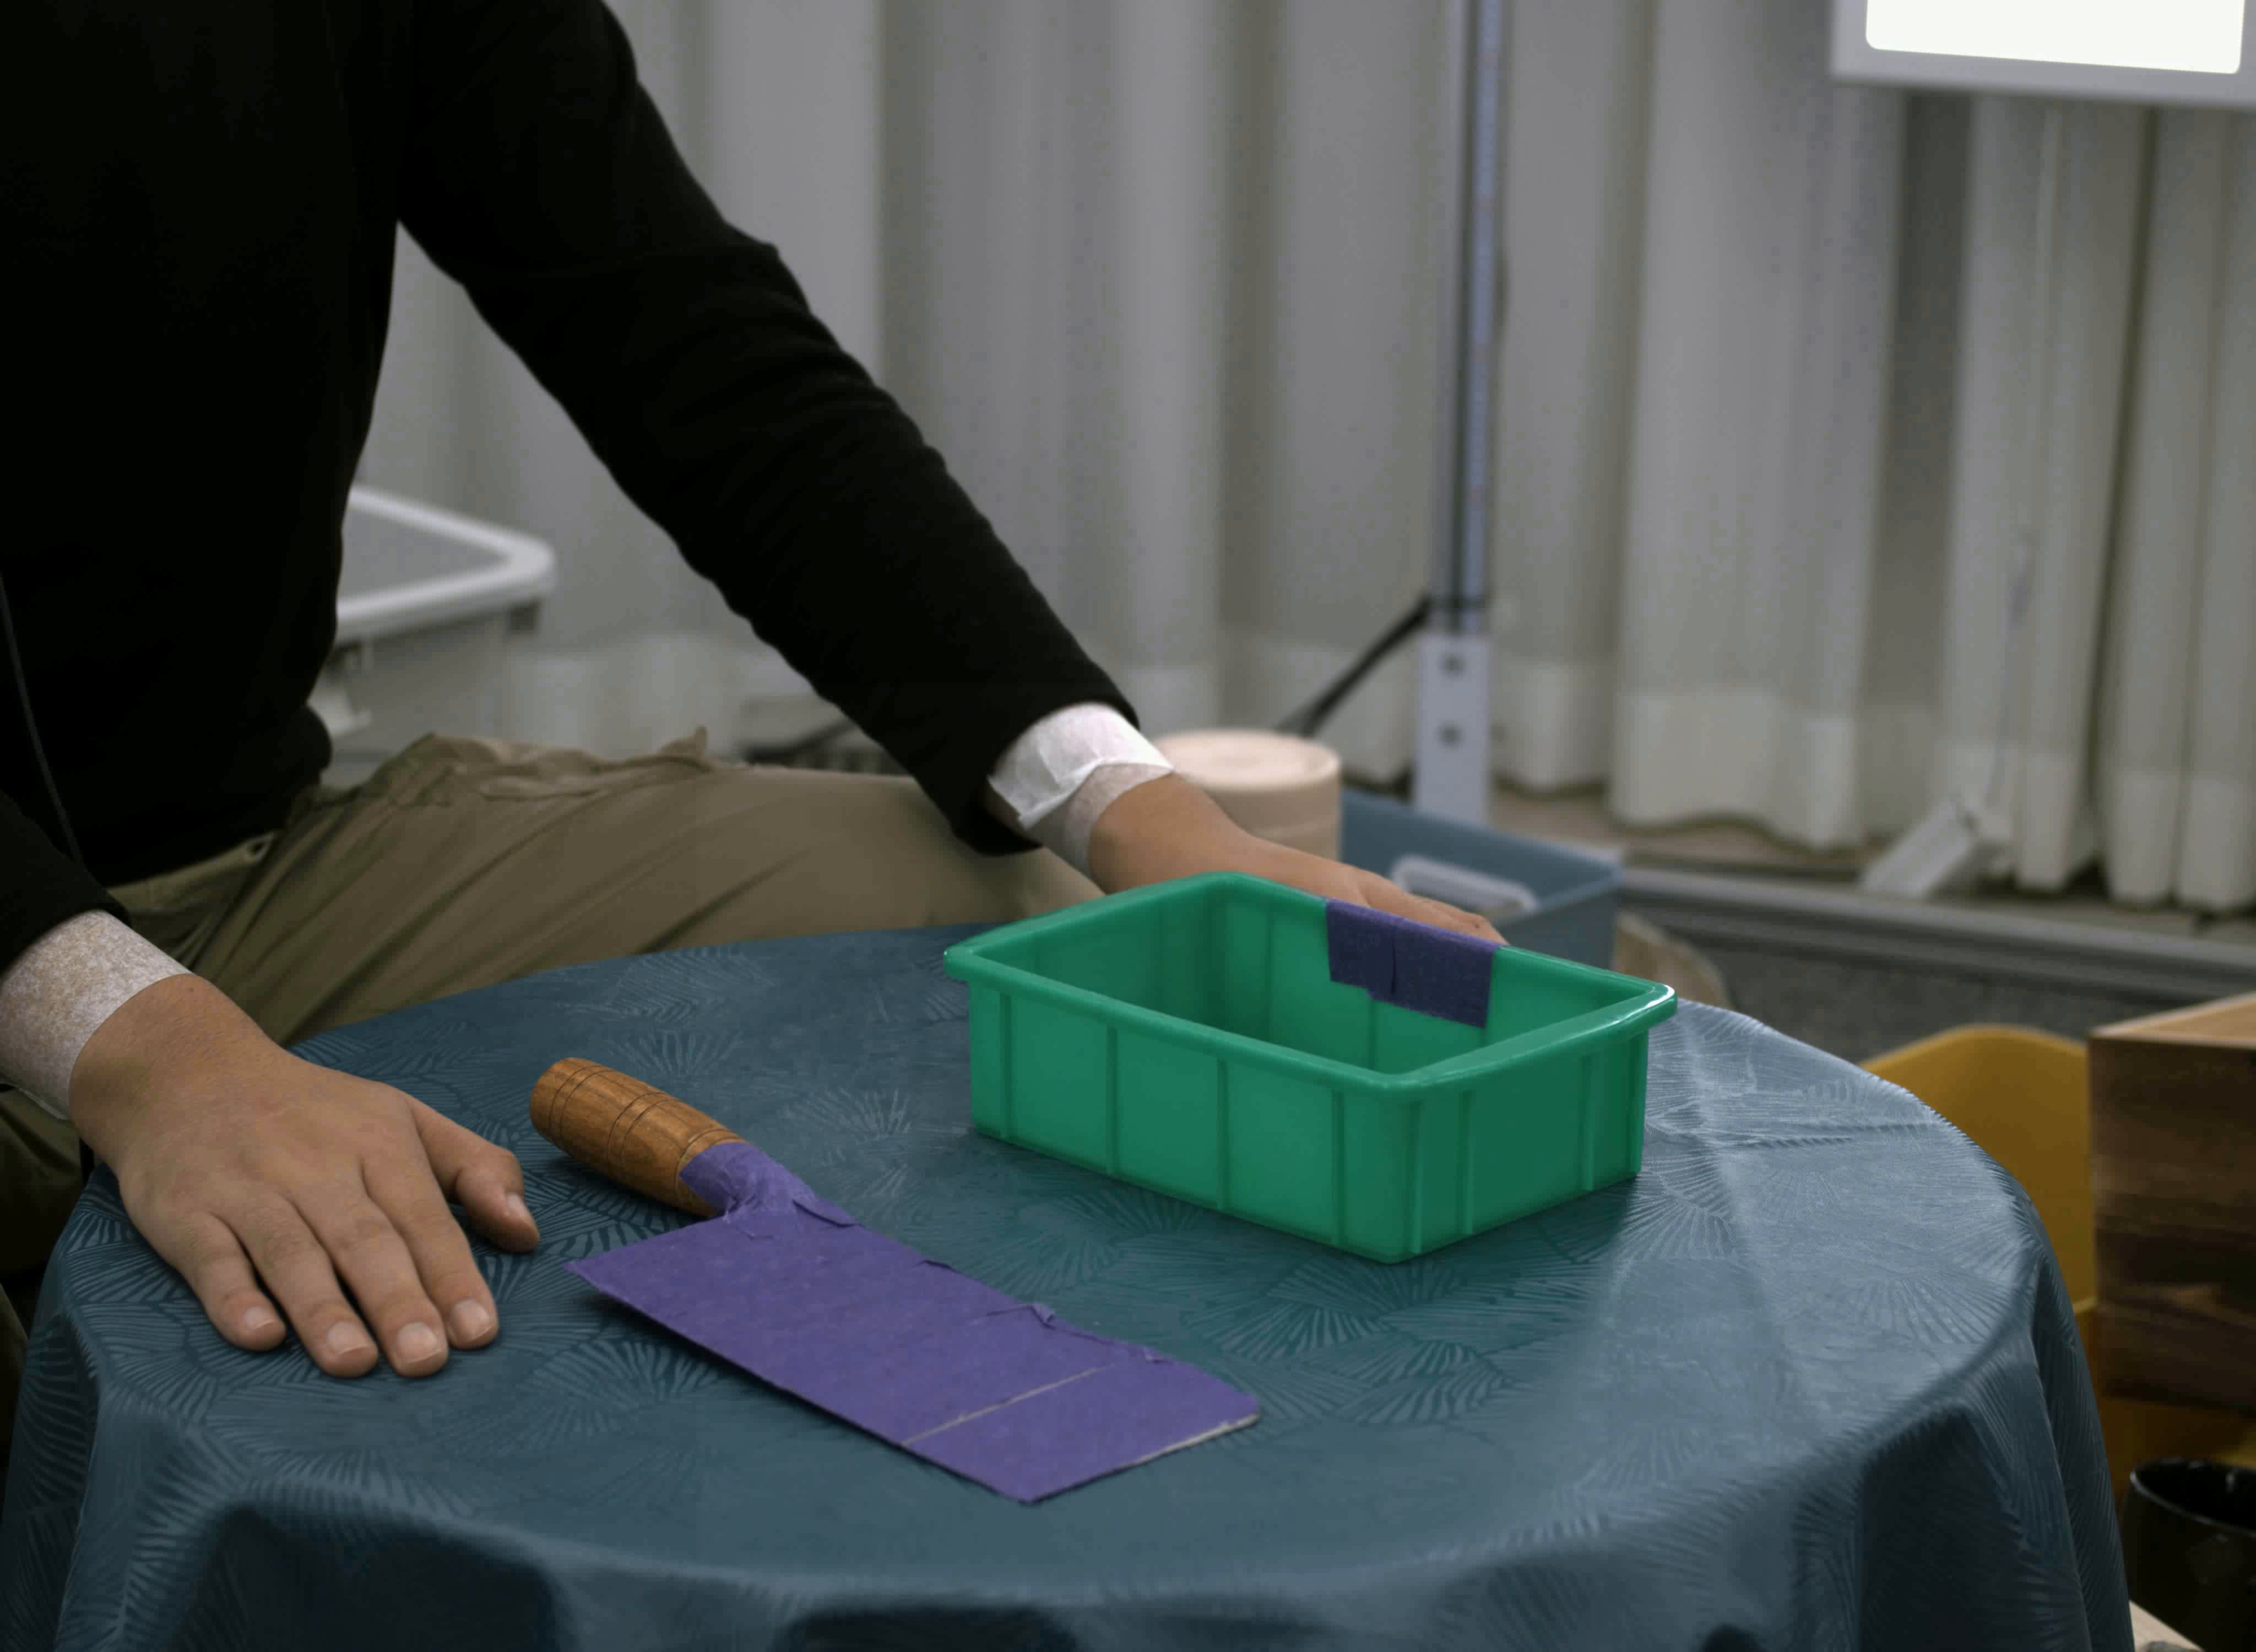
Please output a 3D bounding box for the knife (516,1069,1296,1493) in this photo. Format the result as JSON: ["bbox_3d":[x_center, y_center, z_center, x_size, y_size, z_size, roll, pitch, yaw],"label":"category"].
[{"bbox_3d":[-0.095,0.127,1.514,0.104,0.032,0.311,-14,22,-42],"label":"knife"}]

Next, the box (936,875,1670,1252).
[{"bbox_3d":[0.053,0.073,1.649,0.208,0.066,0.139,12,18,41],"label":"box"}]
